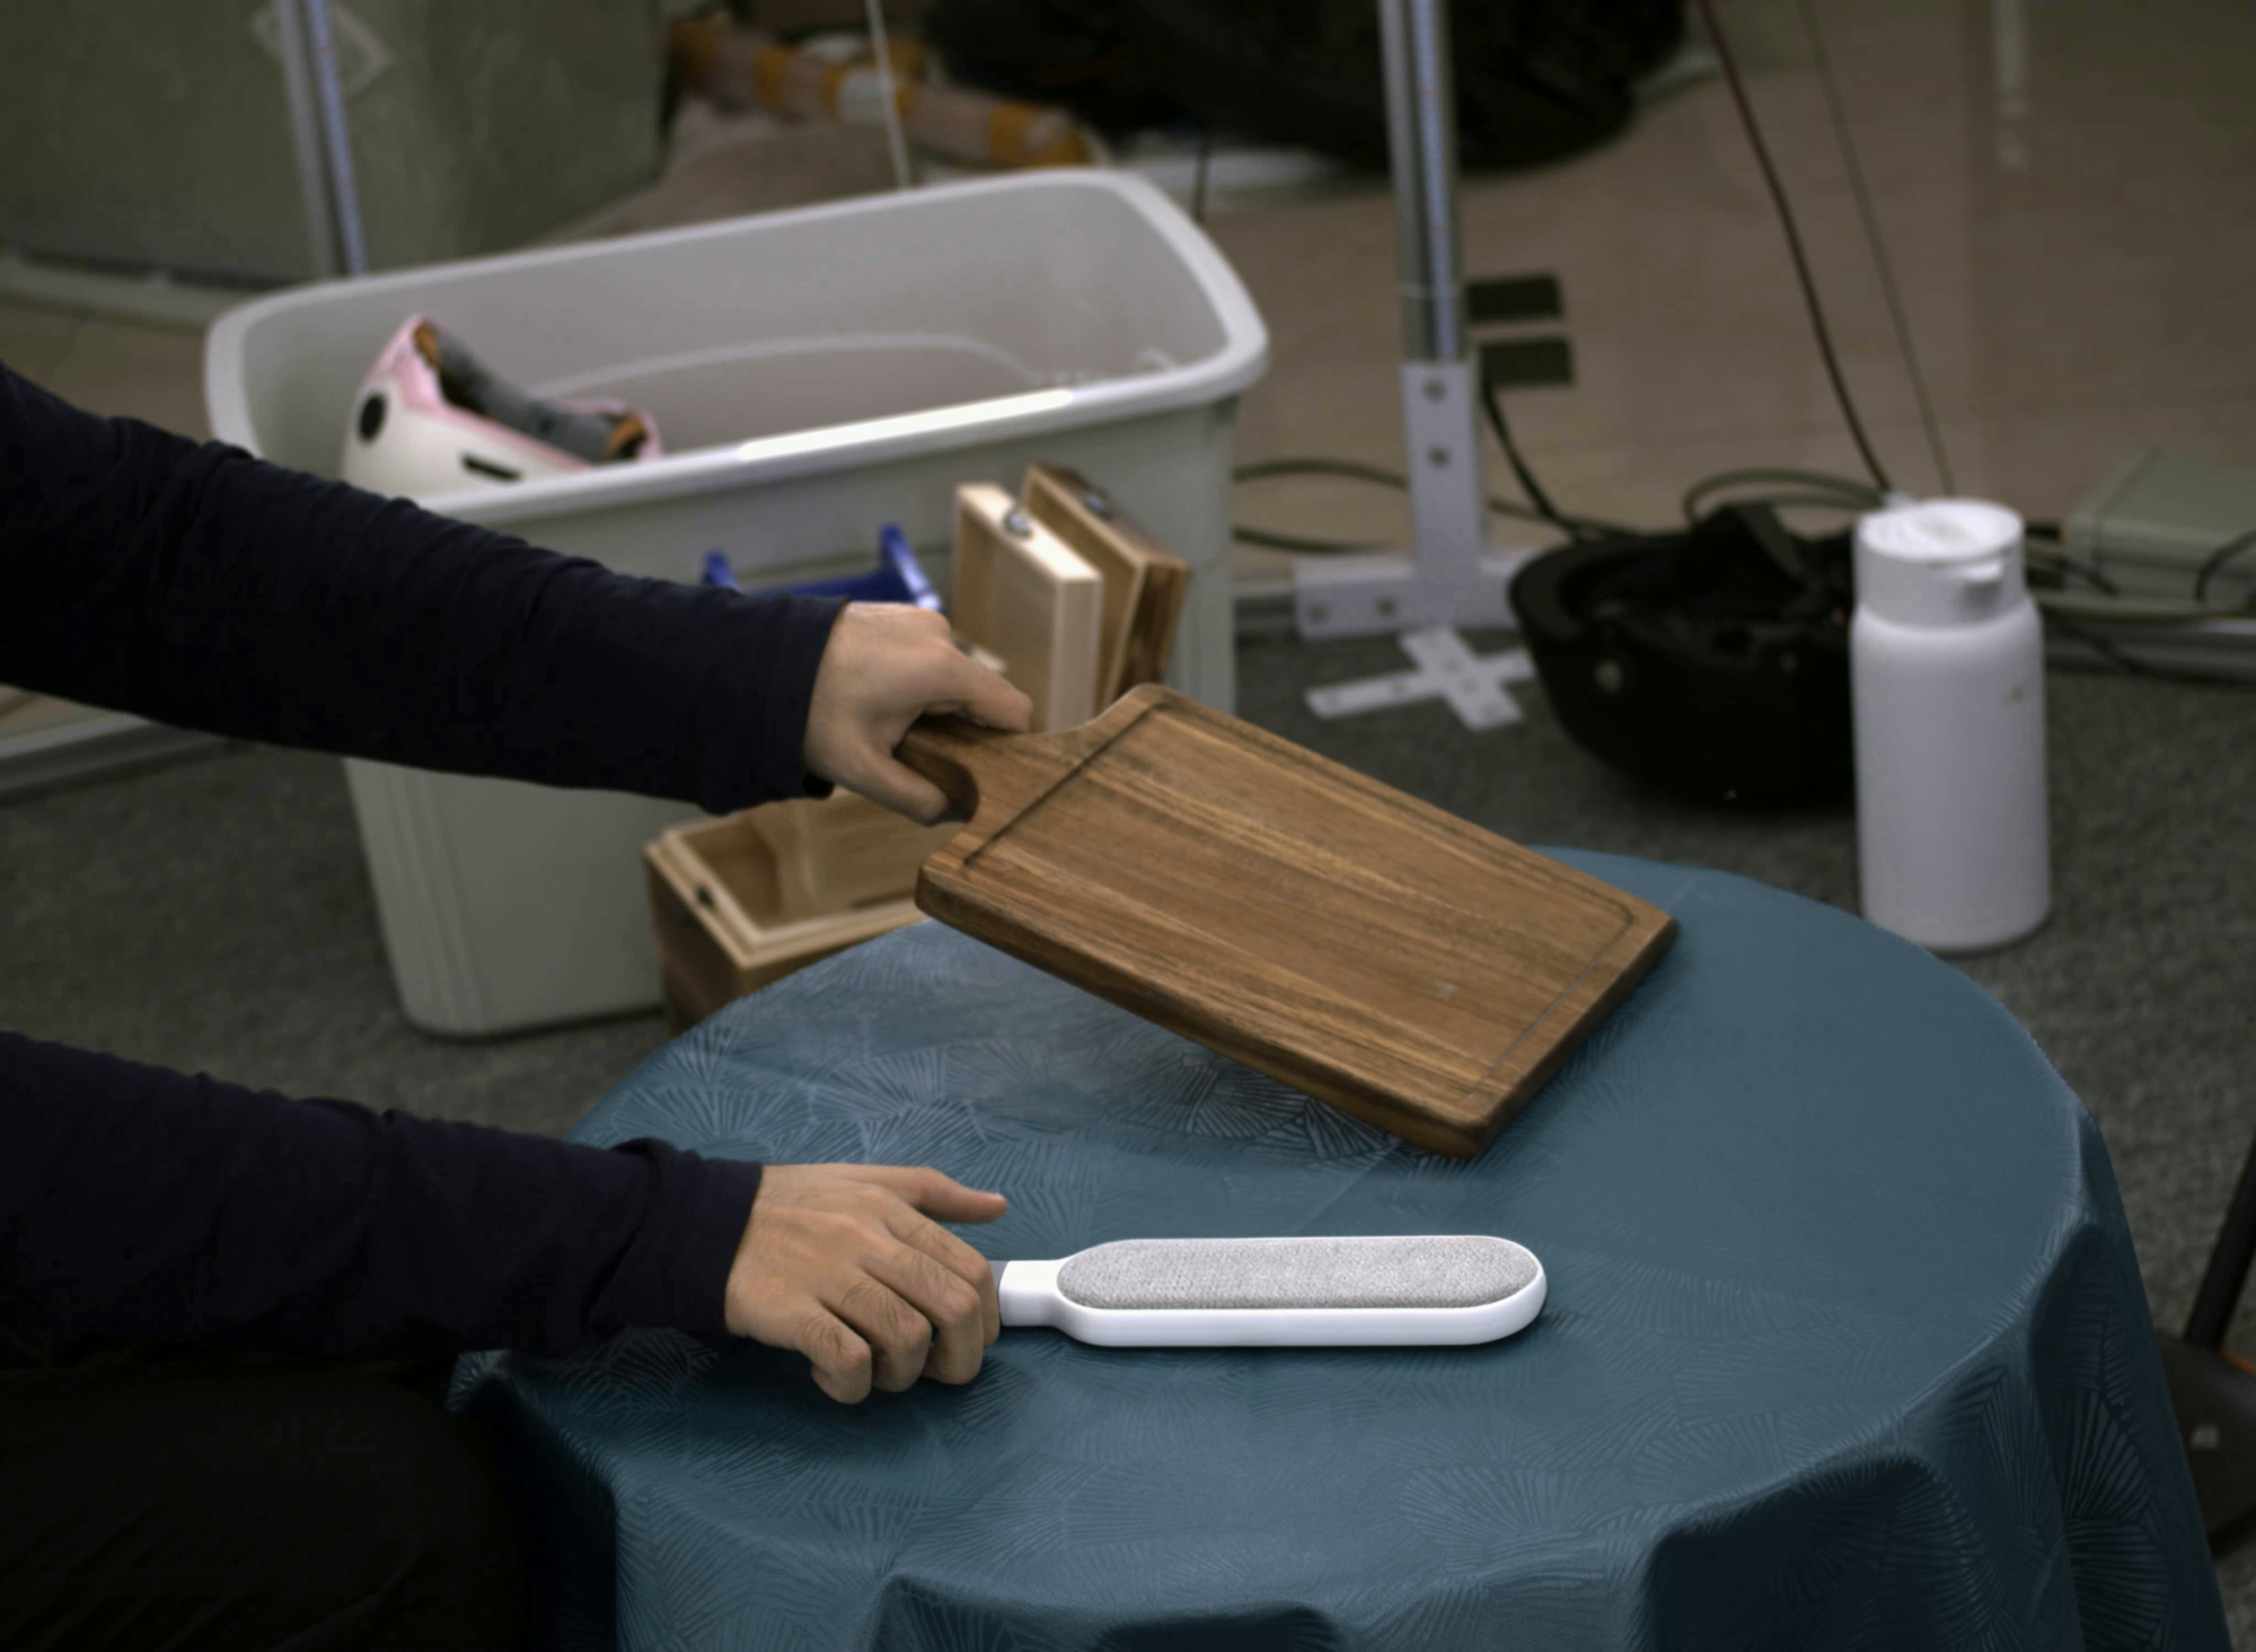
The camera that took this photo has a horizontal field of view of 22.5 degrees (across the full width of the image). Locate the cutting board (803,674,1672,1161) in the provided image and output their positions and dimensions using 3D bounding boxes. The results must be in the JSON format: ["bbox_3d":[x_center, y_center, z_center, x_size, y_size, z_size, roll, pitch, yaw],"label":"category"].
[{"bbox_3d":[0.025,0.015,2.260,0.350,0.023,0.198,24,35,18],"label":"cutting board"}]

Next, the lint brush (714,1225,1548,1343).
[{"bbox_3d":[-0.002,0.166,2.061,0.308,0.021,0.059,-1,31,12],"label":"lint brush"}]
